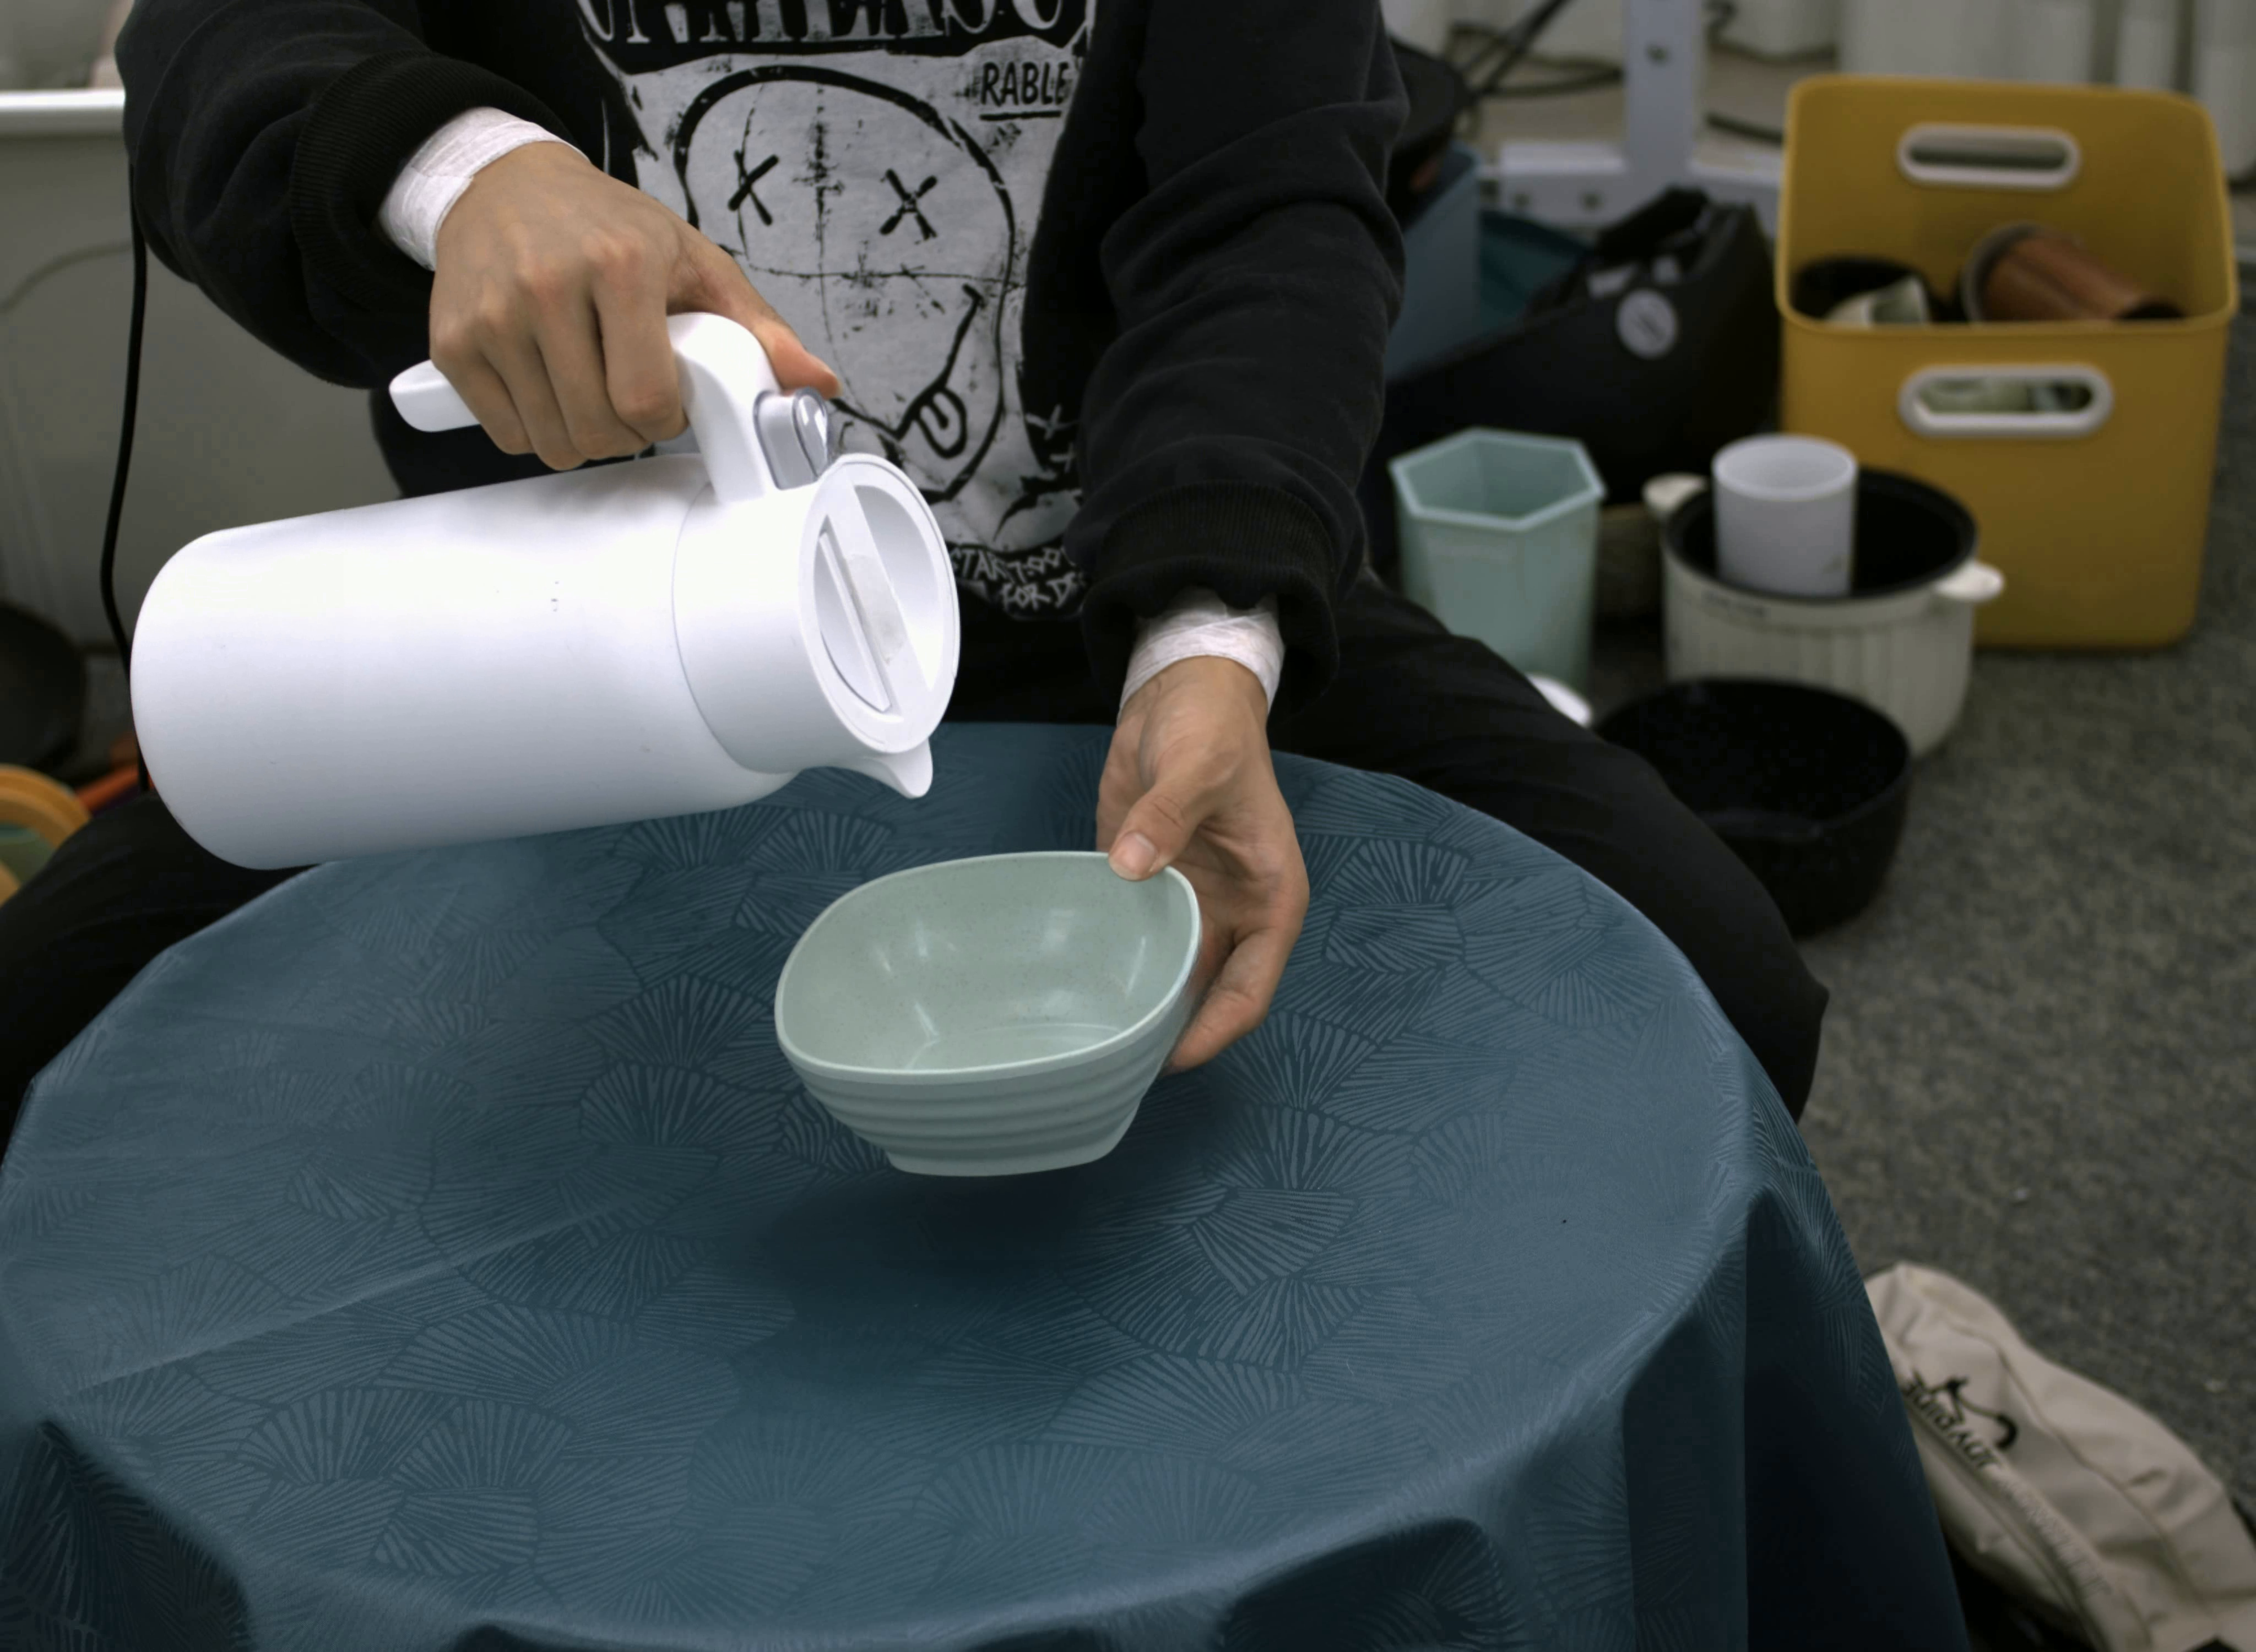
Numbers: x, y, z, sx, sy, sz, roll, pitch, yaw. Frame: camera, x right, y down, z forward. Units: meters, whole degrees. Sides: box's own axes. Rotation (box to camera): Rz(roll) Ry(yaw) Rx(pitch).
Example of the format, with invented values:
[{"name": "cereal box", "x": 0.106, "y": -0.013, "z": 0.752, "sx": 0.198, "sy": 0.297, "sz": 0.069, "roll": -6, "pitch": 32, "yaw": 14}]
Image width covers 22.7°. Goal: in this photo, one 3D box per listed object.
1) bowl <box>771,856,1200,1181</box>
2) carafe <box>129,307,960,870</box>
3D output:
[{"name": "bowl", "x": -0.042, "y": 0.069, "z": 1.827, "sx": 0.150, "sy": 0.058, "sz": 0.154, "roll": -7, "pitch": 27, "yaw": 4}, {"name": "carafe", "x": -0.198, "y": -0.072, "z": 1.846, "sx": 0.266, "sy": 0.171, "sz": 0.126, "roll": -8, "pitch": 24, "yaw": 30}]
